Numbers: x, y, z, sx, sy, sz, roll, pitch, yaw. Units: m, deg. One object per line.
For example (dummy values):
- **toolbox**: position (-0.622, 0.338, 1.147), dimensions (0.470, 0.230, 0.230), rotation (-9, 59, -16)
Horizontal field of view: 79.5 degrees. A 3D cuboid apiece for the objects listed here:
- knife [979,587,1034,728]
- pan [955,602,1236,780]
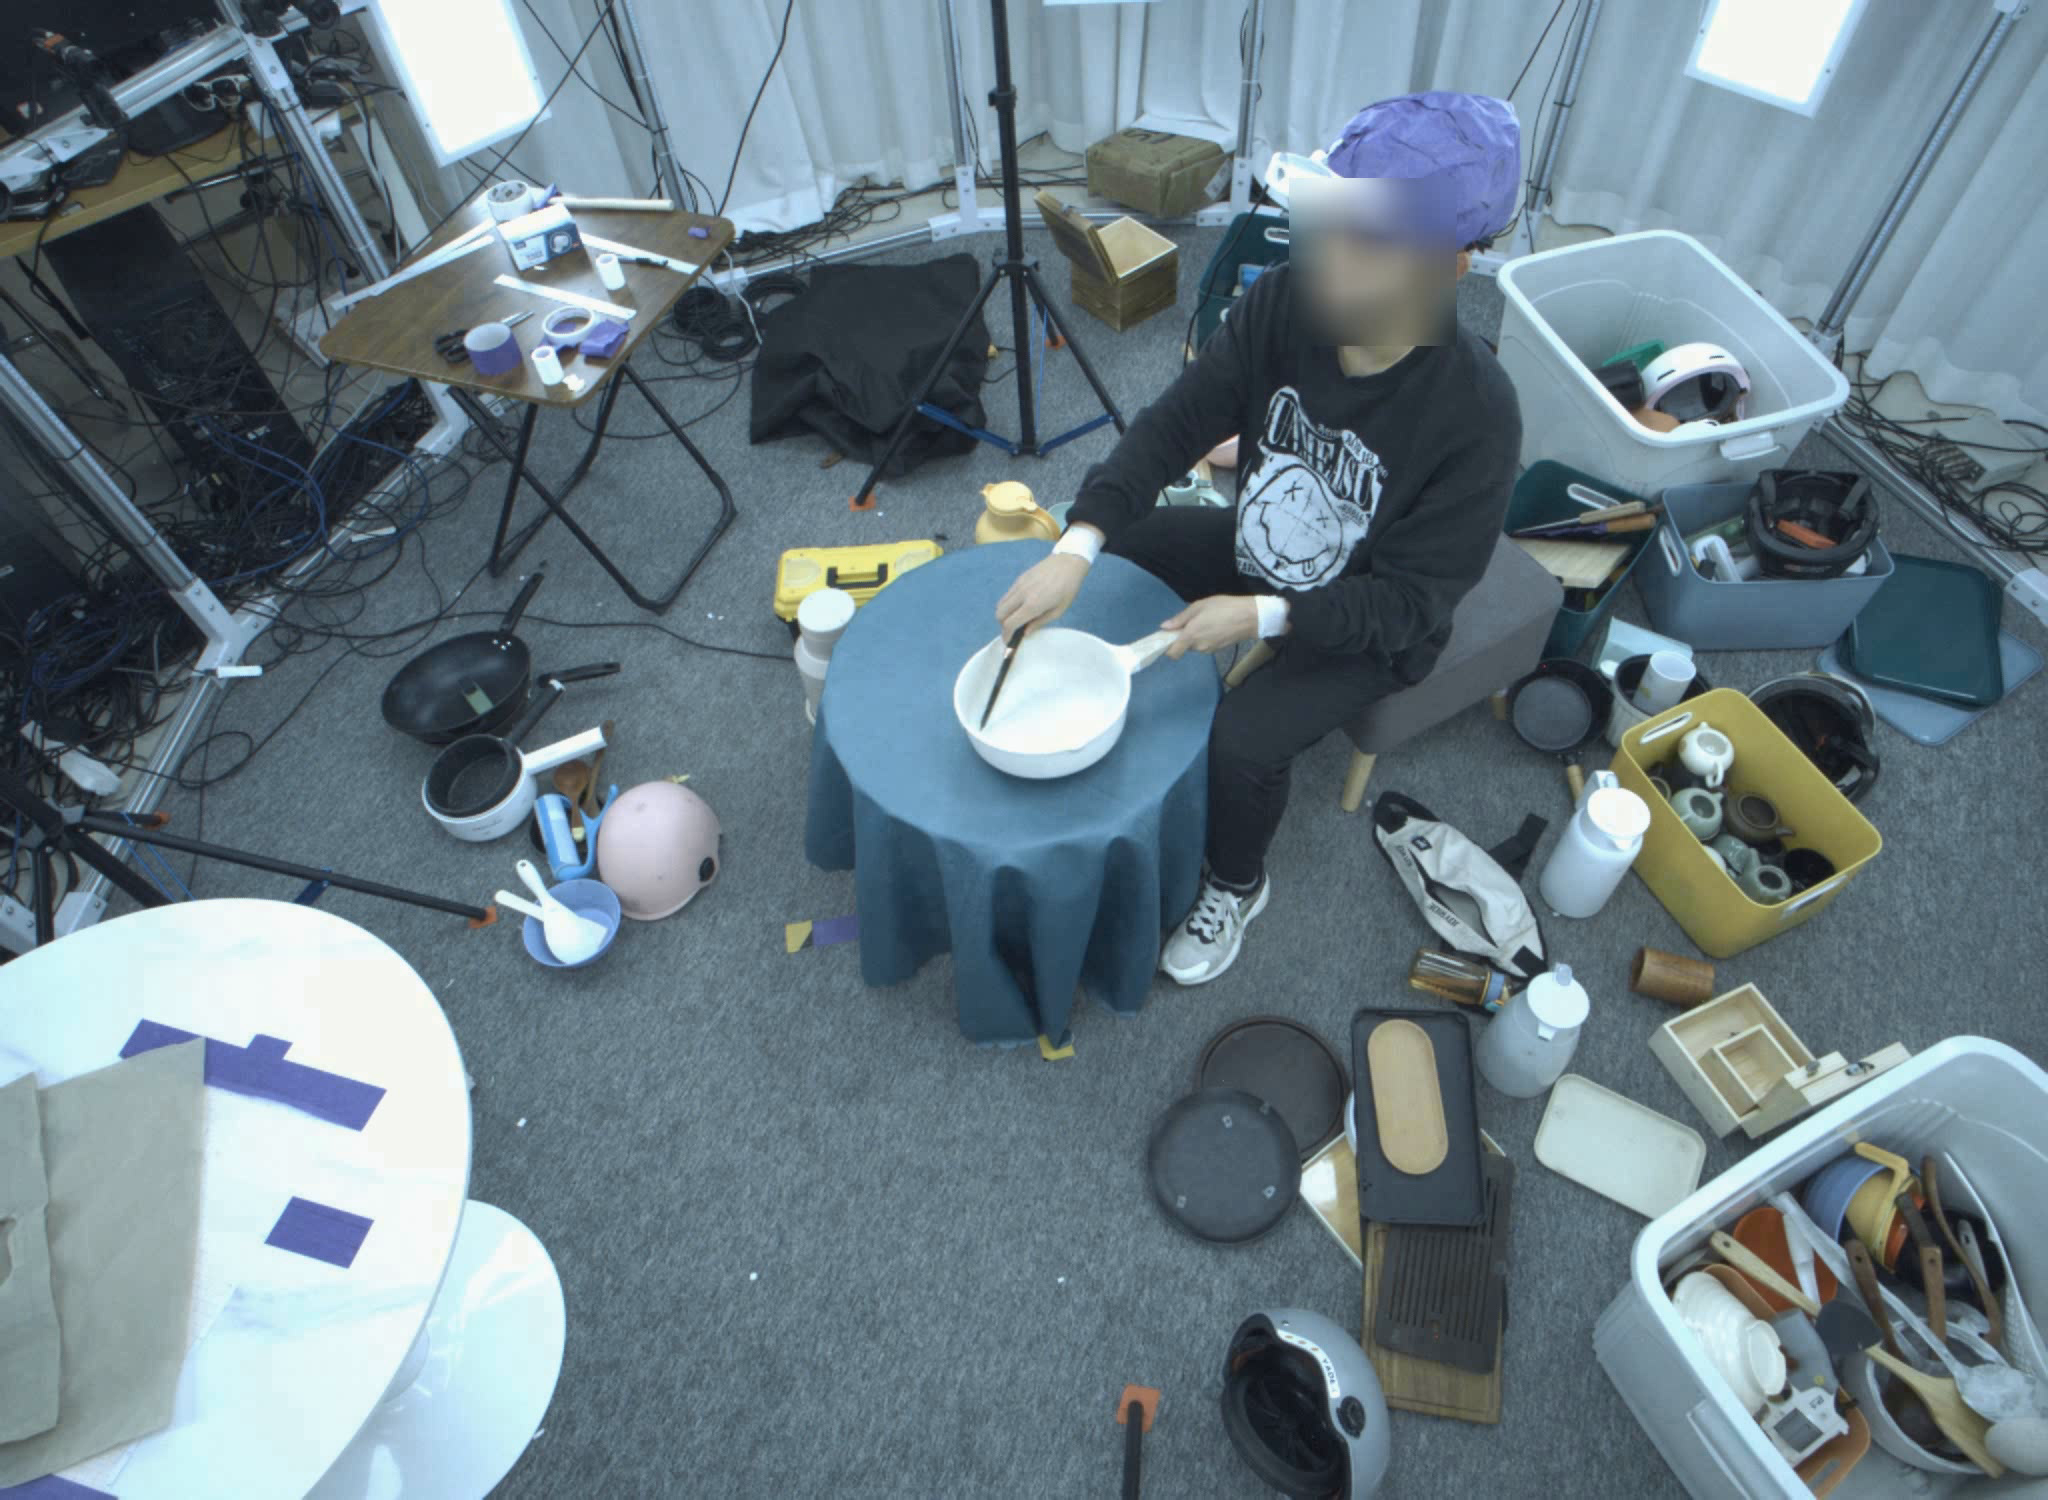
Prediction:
- **knife**: position (-0.029, -0.130, 1.790), dimensions (0.017, 0.026, 0.225), rotation (20, 89, 11)
- **pan**: position (0.115, -0.098, 1.775), dimensions (0.438, 0.103, 0.258), rotation (-21, 48, -13)
